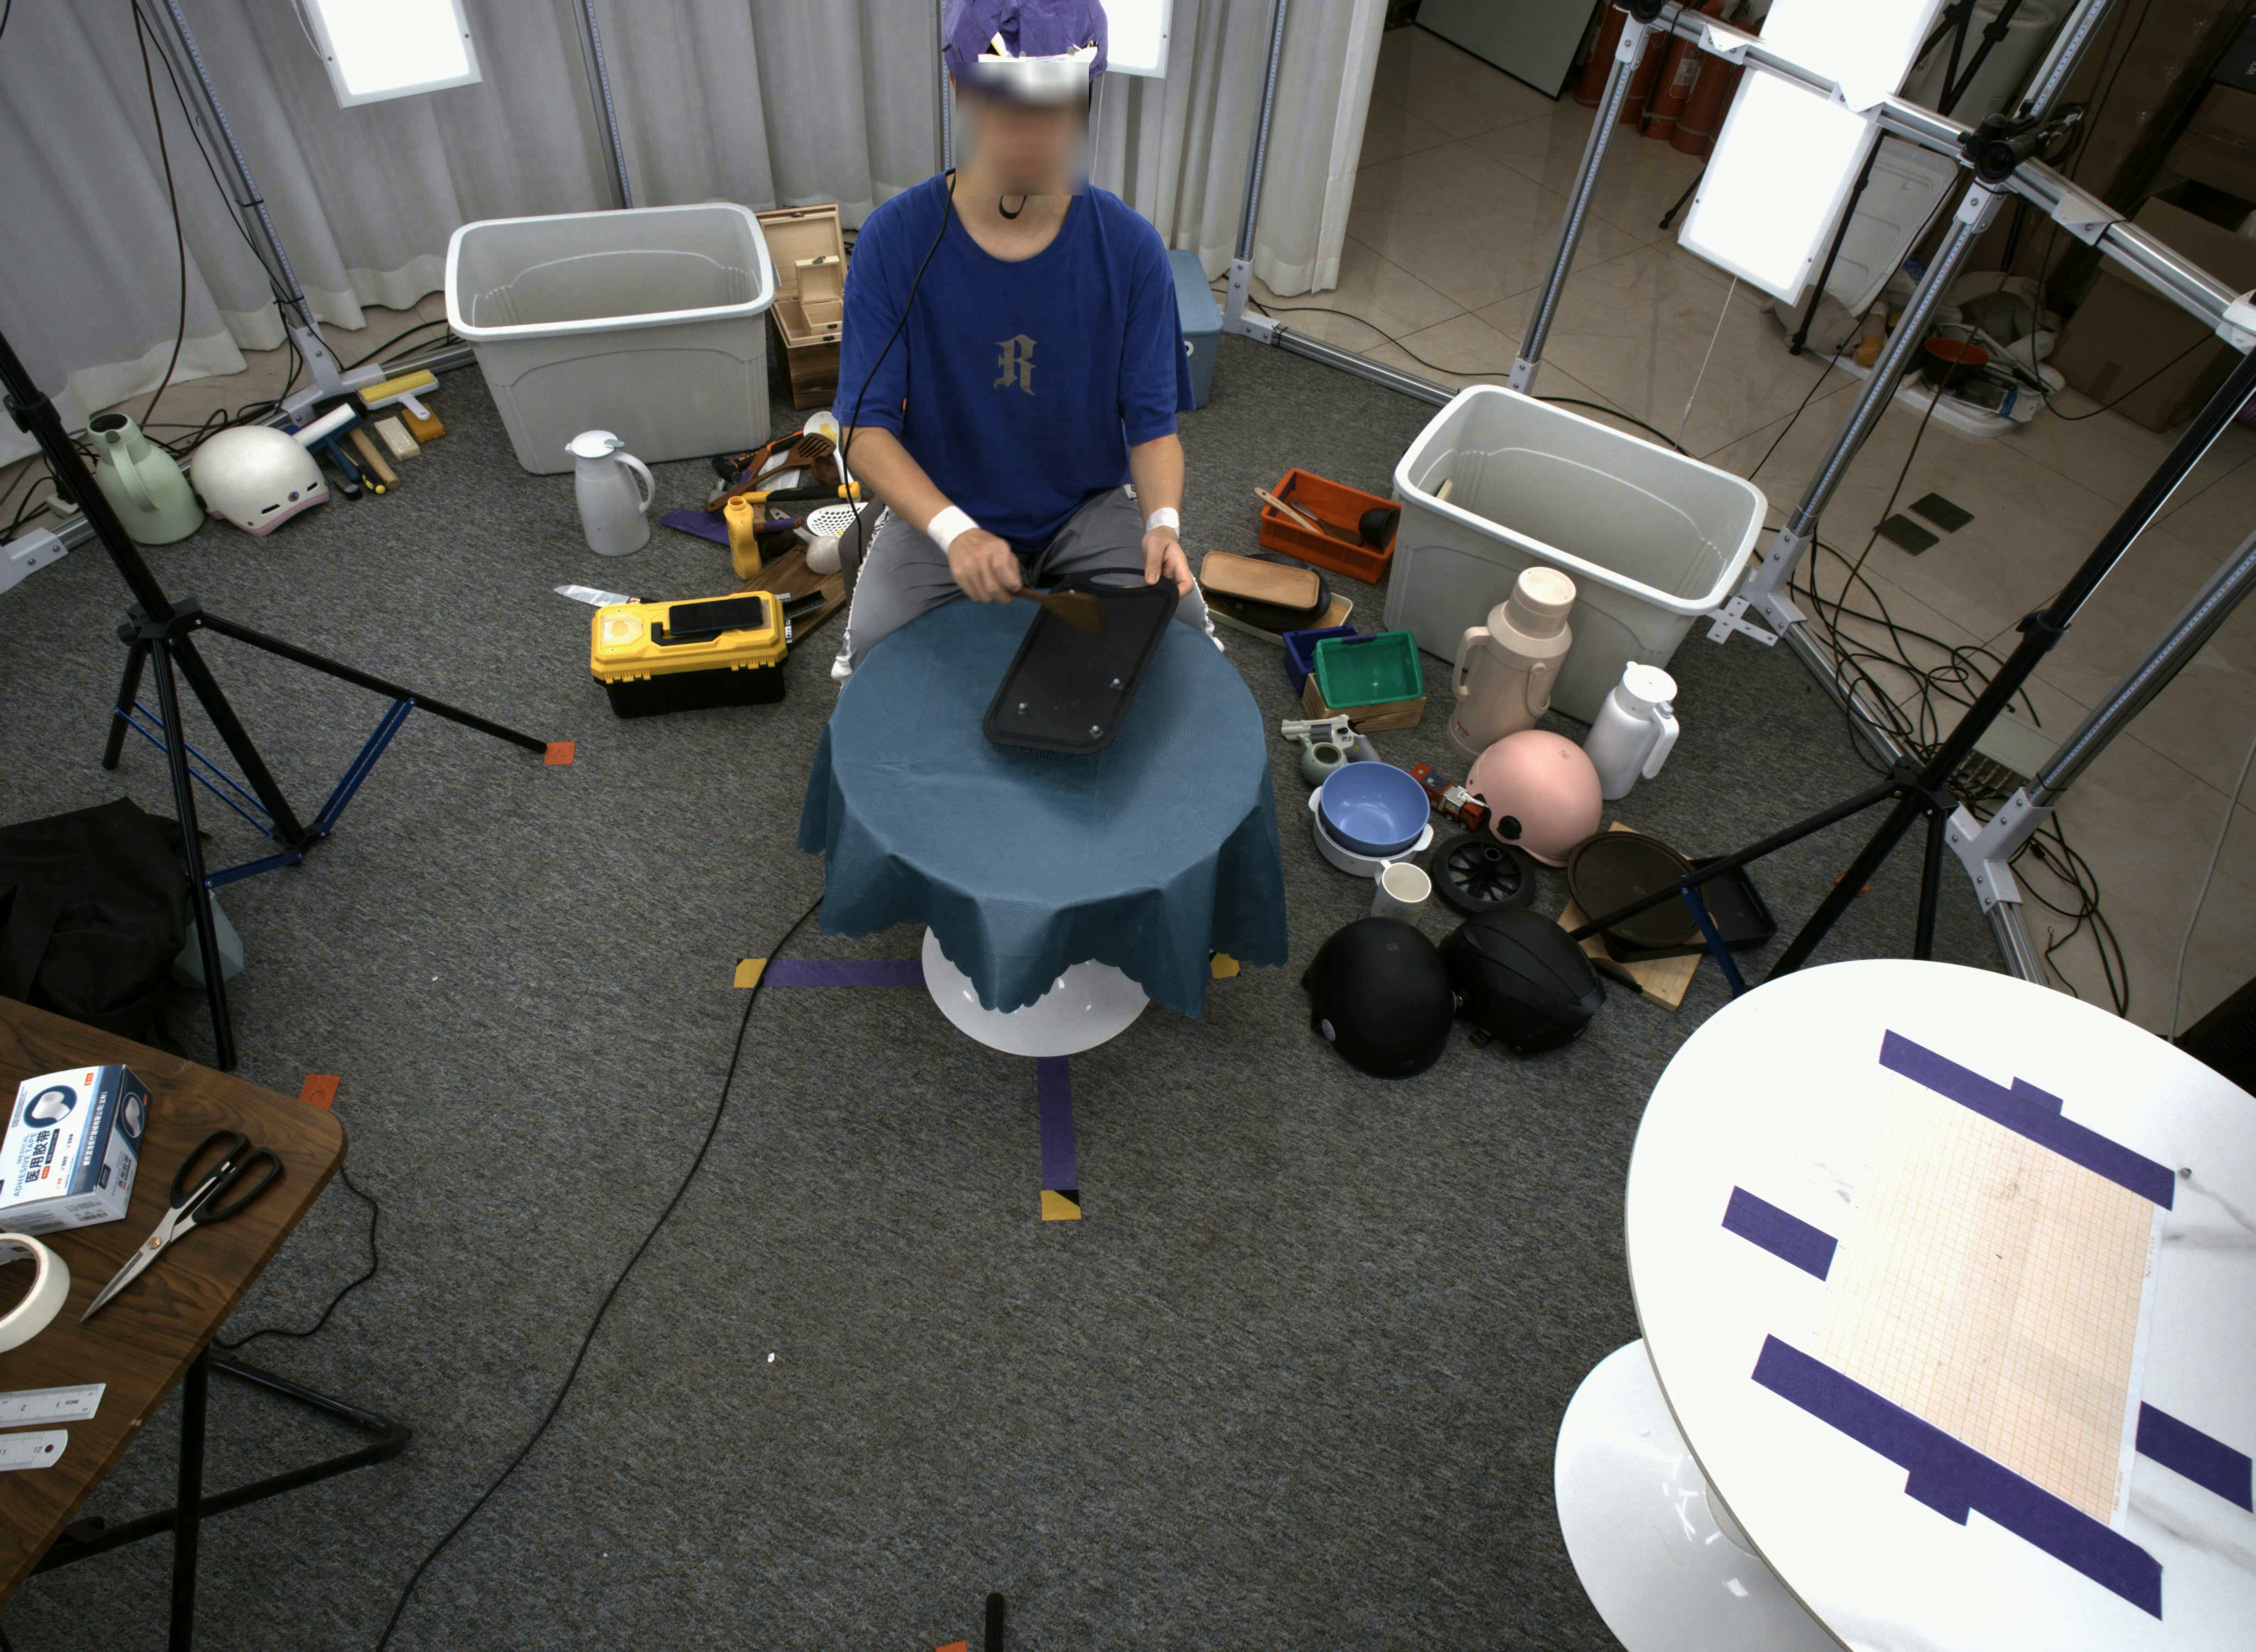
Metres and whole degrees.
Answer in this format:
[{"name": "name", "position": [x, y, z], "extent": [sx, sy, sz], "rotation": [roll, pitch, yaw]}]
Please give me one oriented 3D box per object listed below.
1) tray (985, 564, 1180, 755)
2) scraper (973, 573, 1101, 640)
[{"name": "tray", "position": [-0.059, -0.238, 1.758], "extent": [0.212, 0.009, 0.331], "rotation": [9, 60, 29]}, {"name": "scraper", "position": [-0.126, -0.301, 1.721], "extent": [0.214, 0.074, 0.011], "rotation": [25, 67, 30]}]
